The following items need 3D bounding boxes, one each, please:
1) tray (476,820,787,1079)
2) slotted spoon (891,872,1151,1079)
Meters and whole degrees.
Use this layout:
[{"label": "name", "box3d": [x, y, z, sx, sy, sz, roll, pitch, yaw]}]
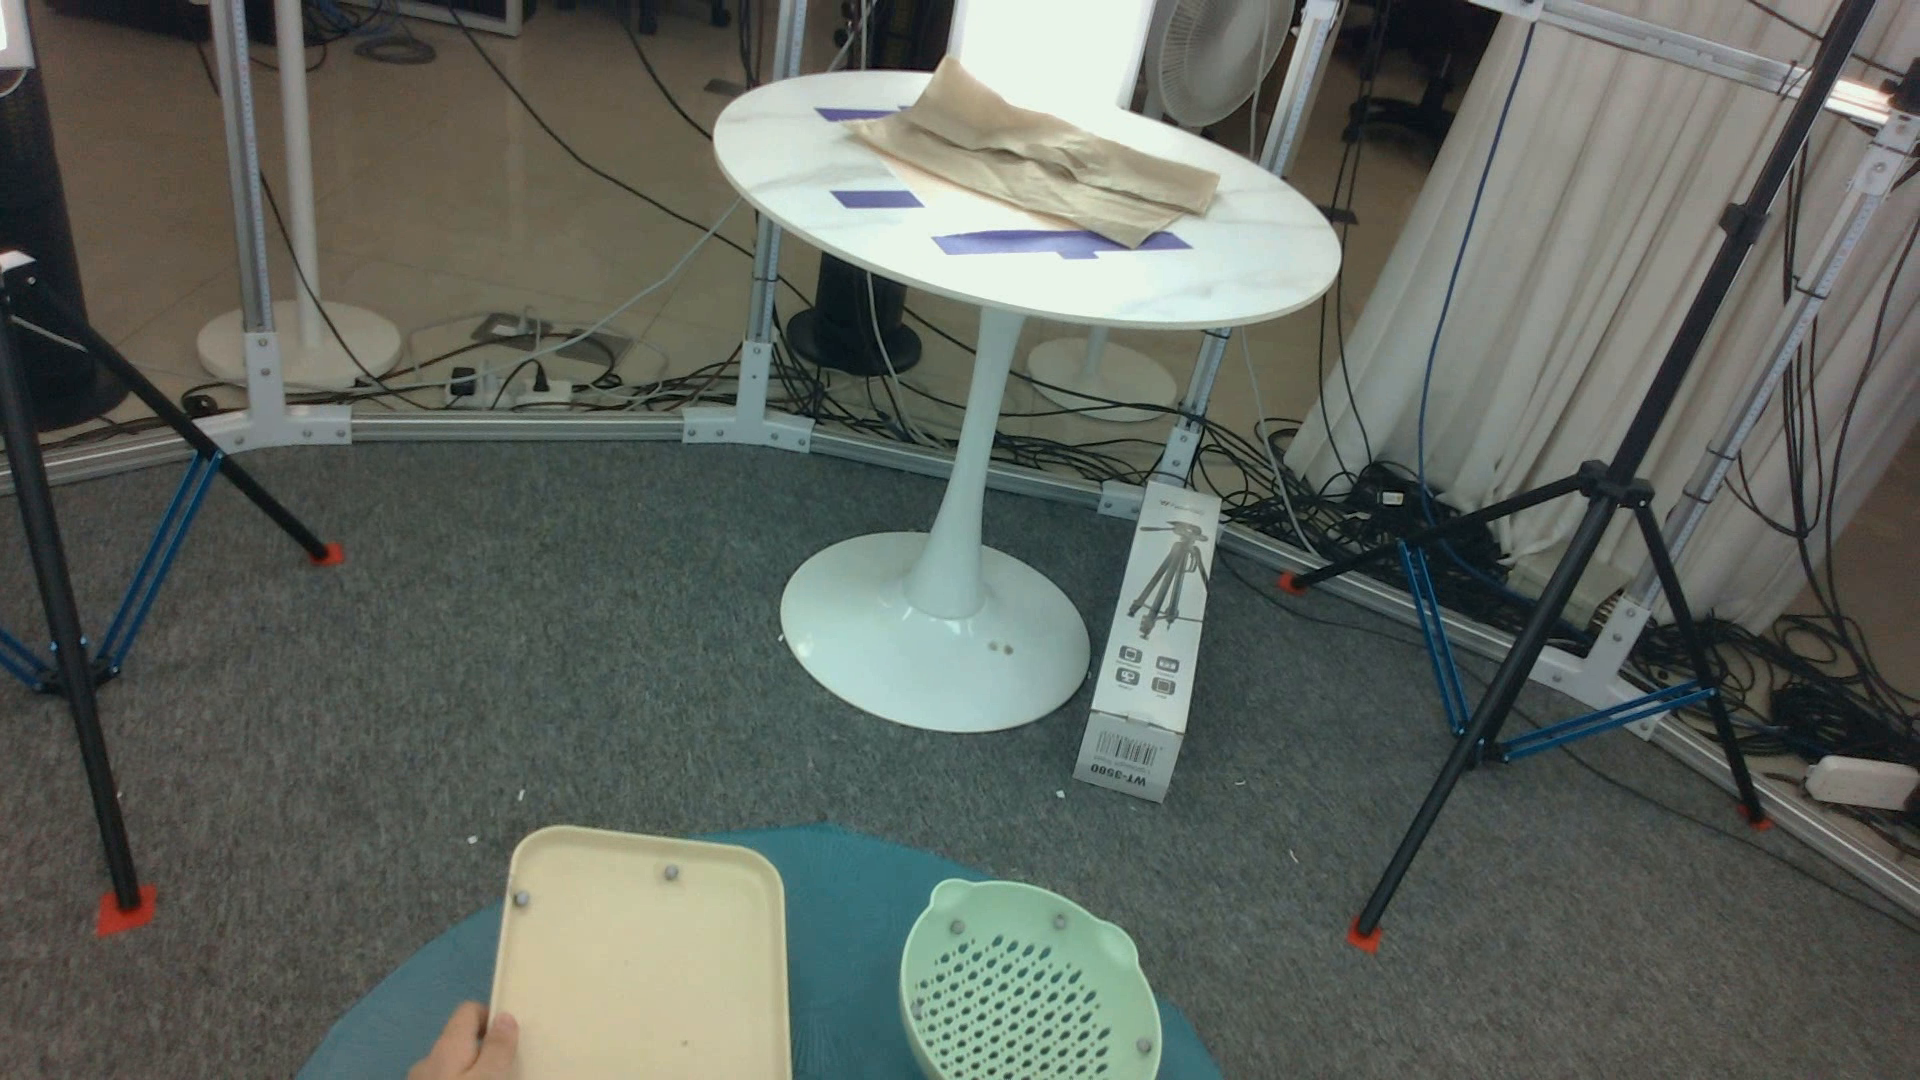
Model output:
[{"label": "tray", "box3d": [-0.187, 0.266, 0.797, 0.171, 0.017, 0.240, 12, 35, -20]}, {"label": "slotted spoon", "box3d": [0.028, 0.340, 0.764, 0.169, 0.075, 0.360, 18, 27, -8]}]
